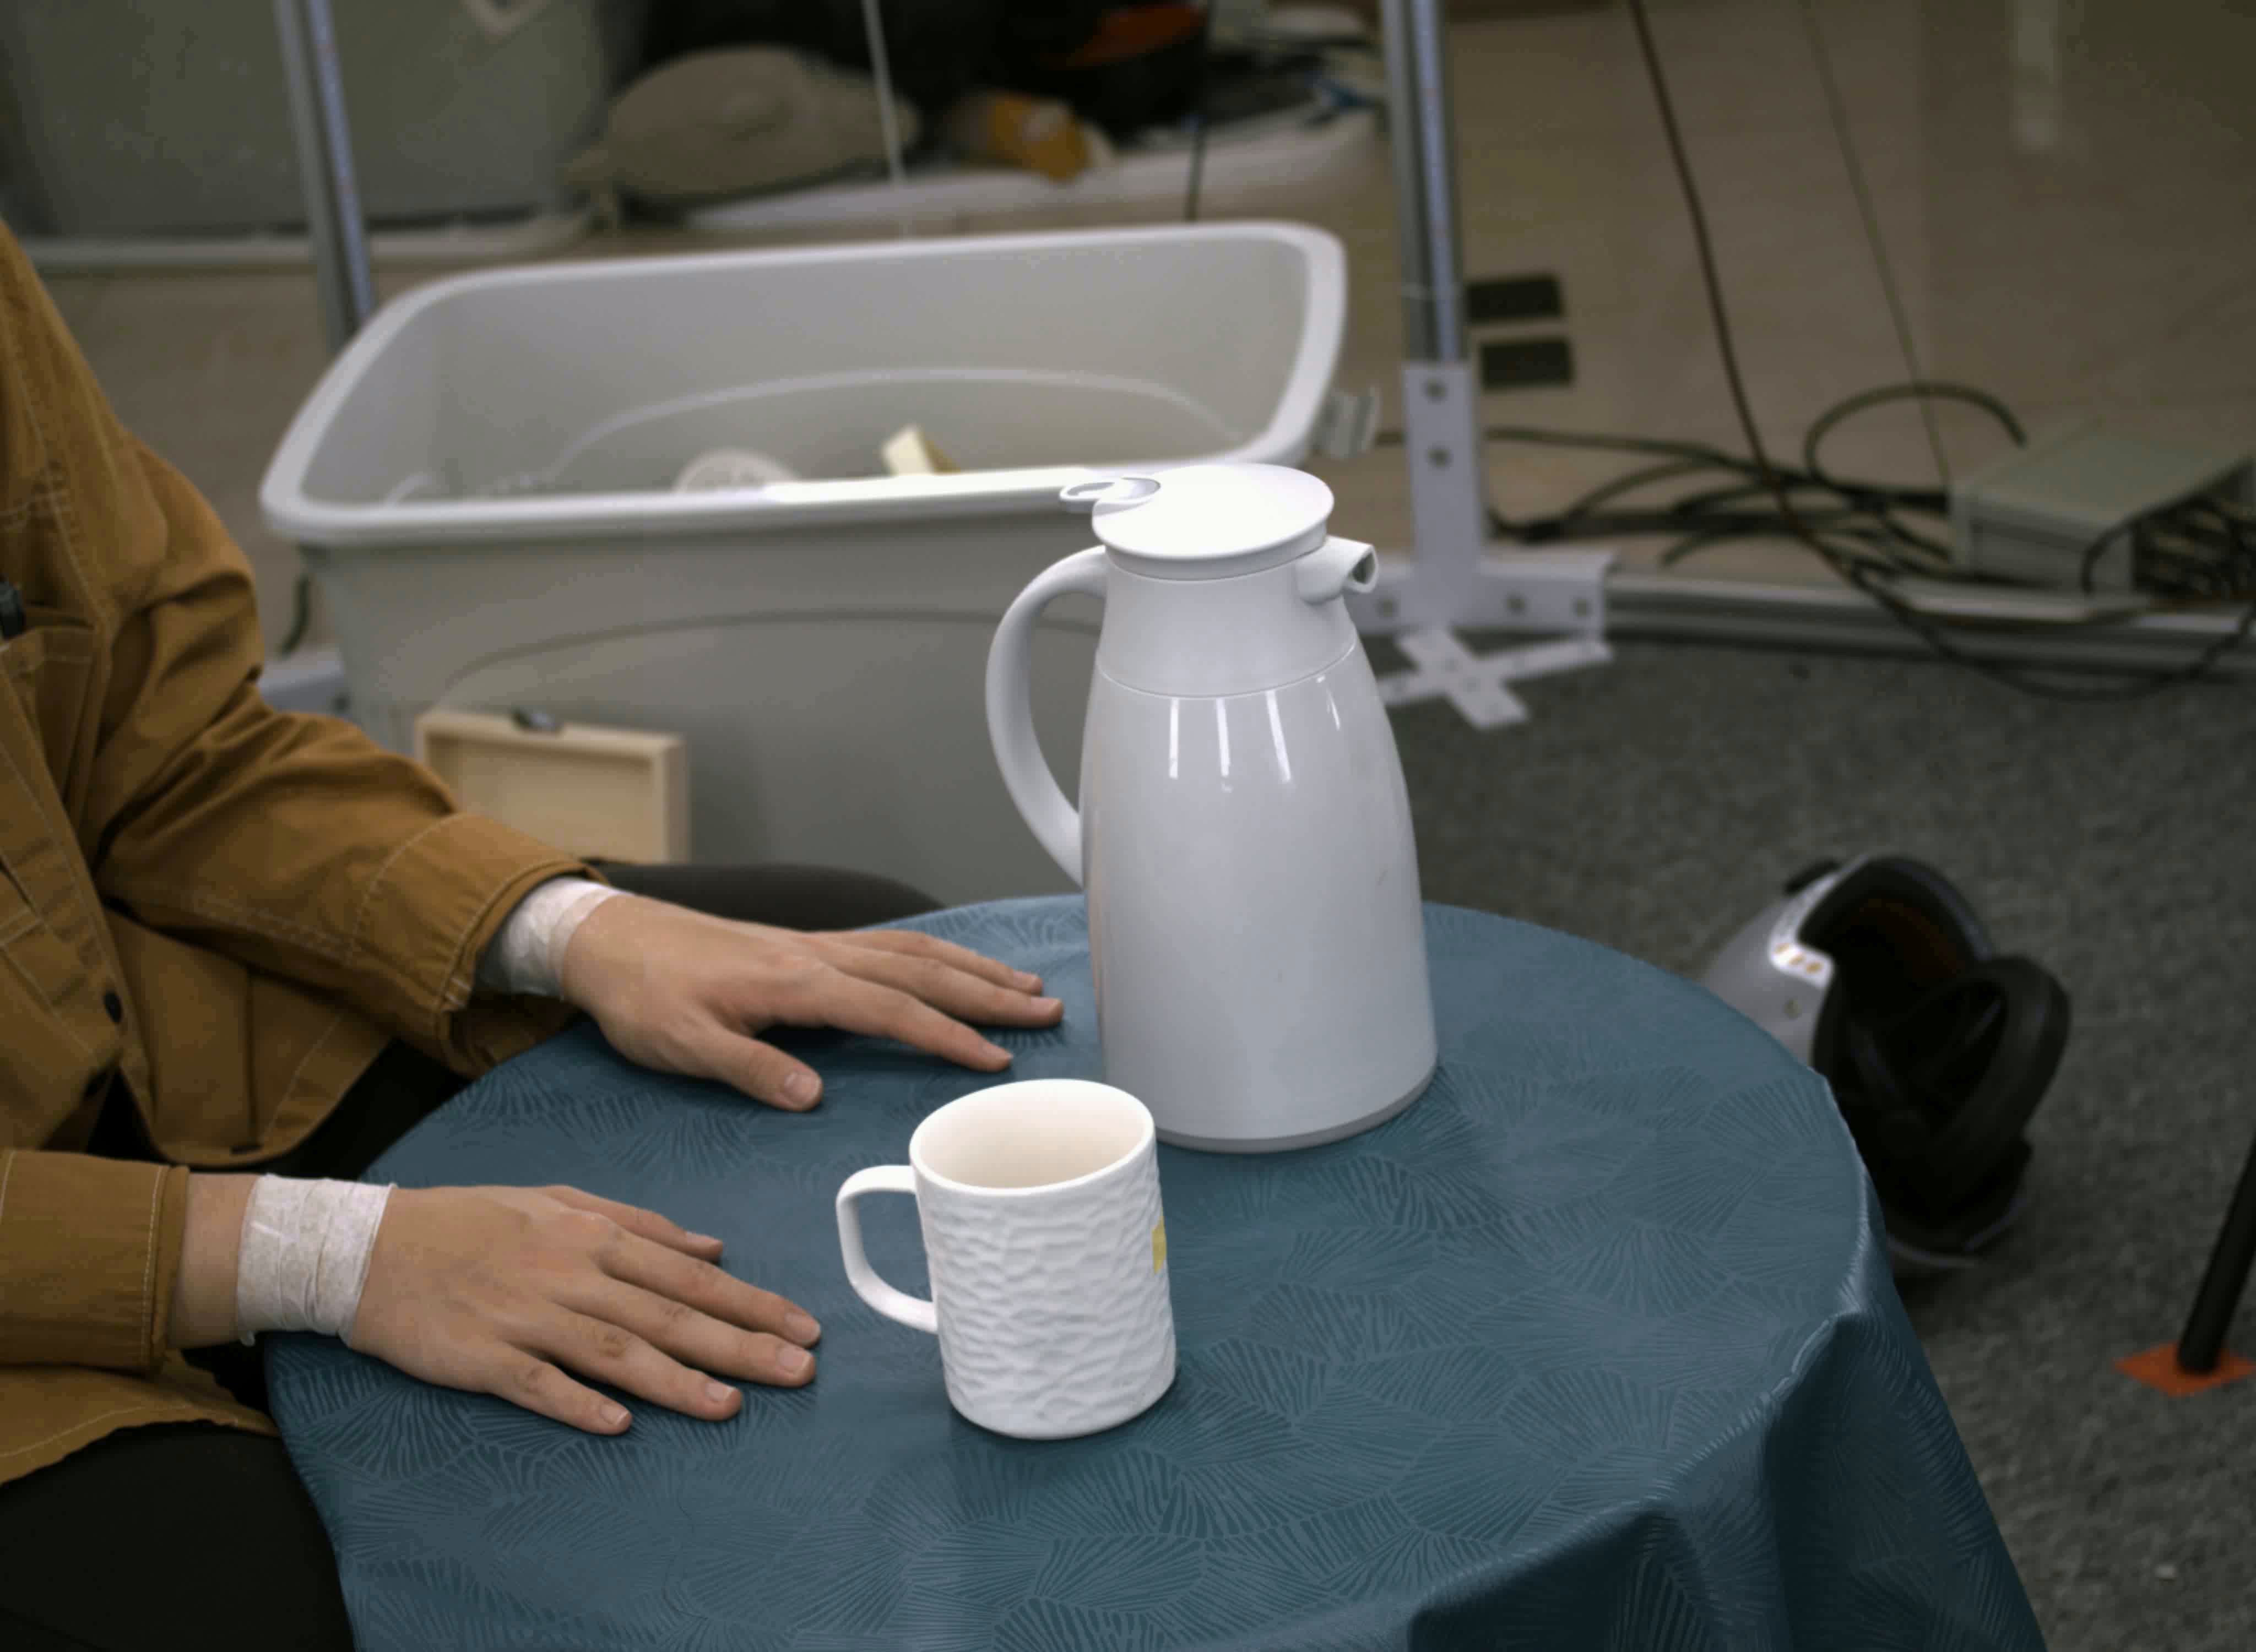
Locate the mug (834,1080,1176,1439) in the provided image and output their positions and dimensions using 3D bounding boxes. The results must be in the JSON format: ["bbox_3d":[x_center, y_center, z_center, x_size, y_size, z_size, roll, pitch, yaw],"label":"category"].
[{"bbox_3d":[-0.044,0.154,2.007,0.118,0.103,0.084,0,25,14],"label":"mug"}]

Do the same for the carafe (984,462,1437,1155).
[{"bbox_3d":[0.026,-0.015,2.175,0.167,0.252,0.131,6,29,24],"label":"carafe"}]
